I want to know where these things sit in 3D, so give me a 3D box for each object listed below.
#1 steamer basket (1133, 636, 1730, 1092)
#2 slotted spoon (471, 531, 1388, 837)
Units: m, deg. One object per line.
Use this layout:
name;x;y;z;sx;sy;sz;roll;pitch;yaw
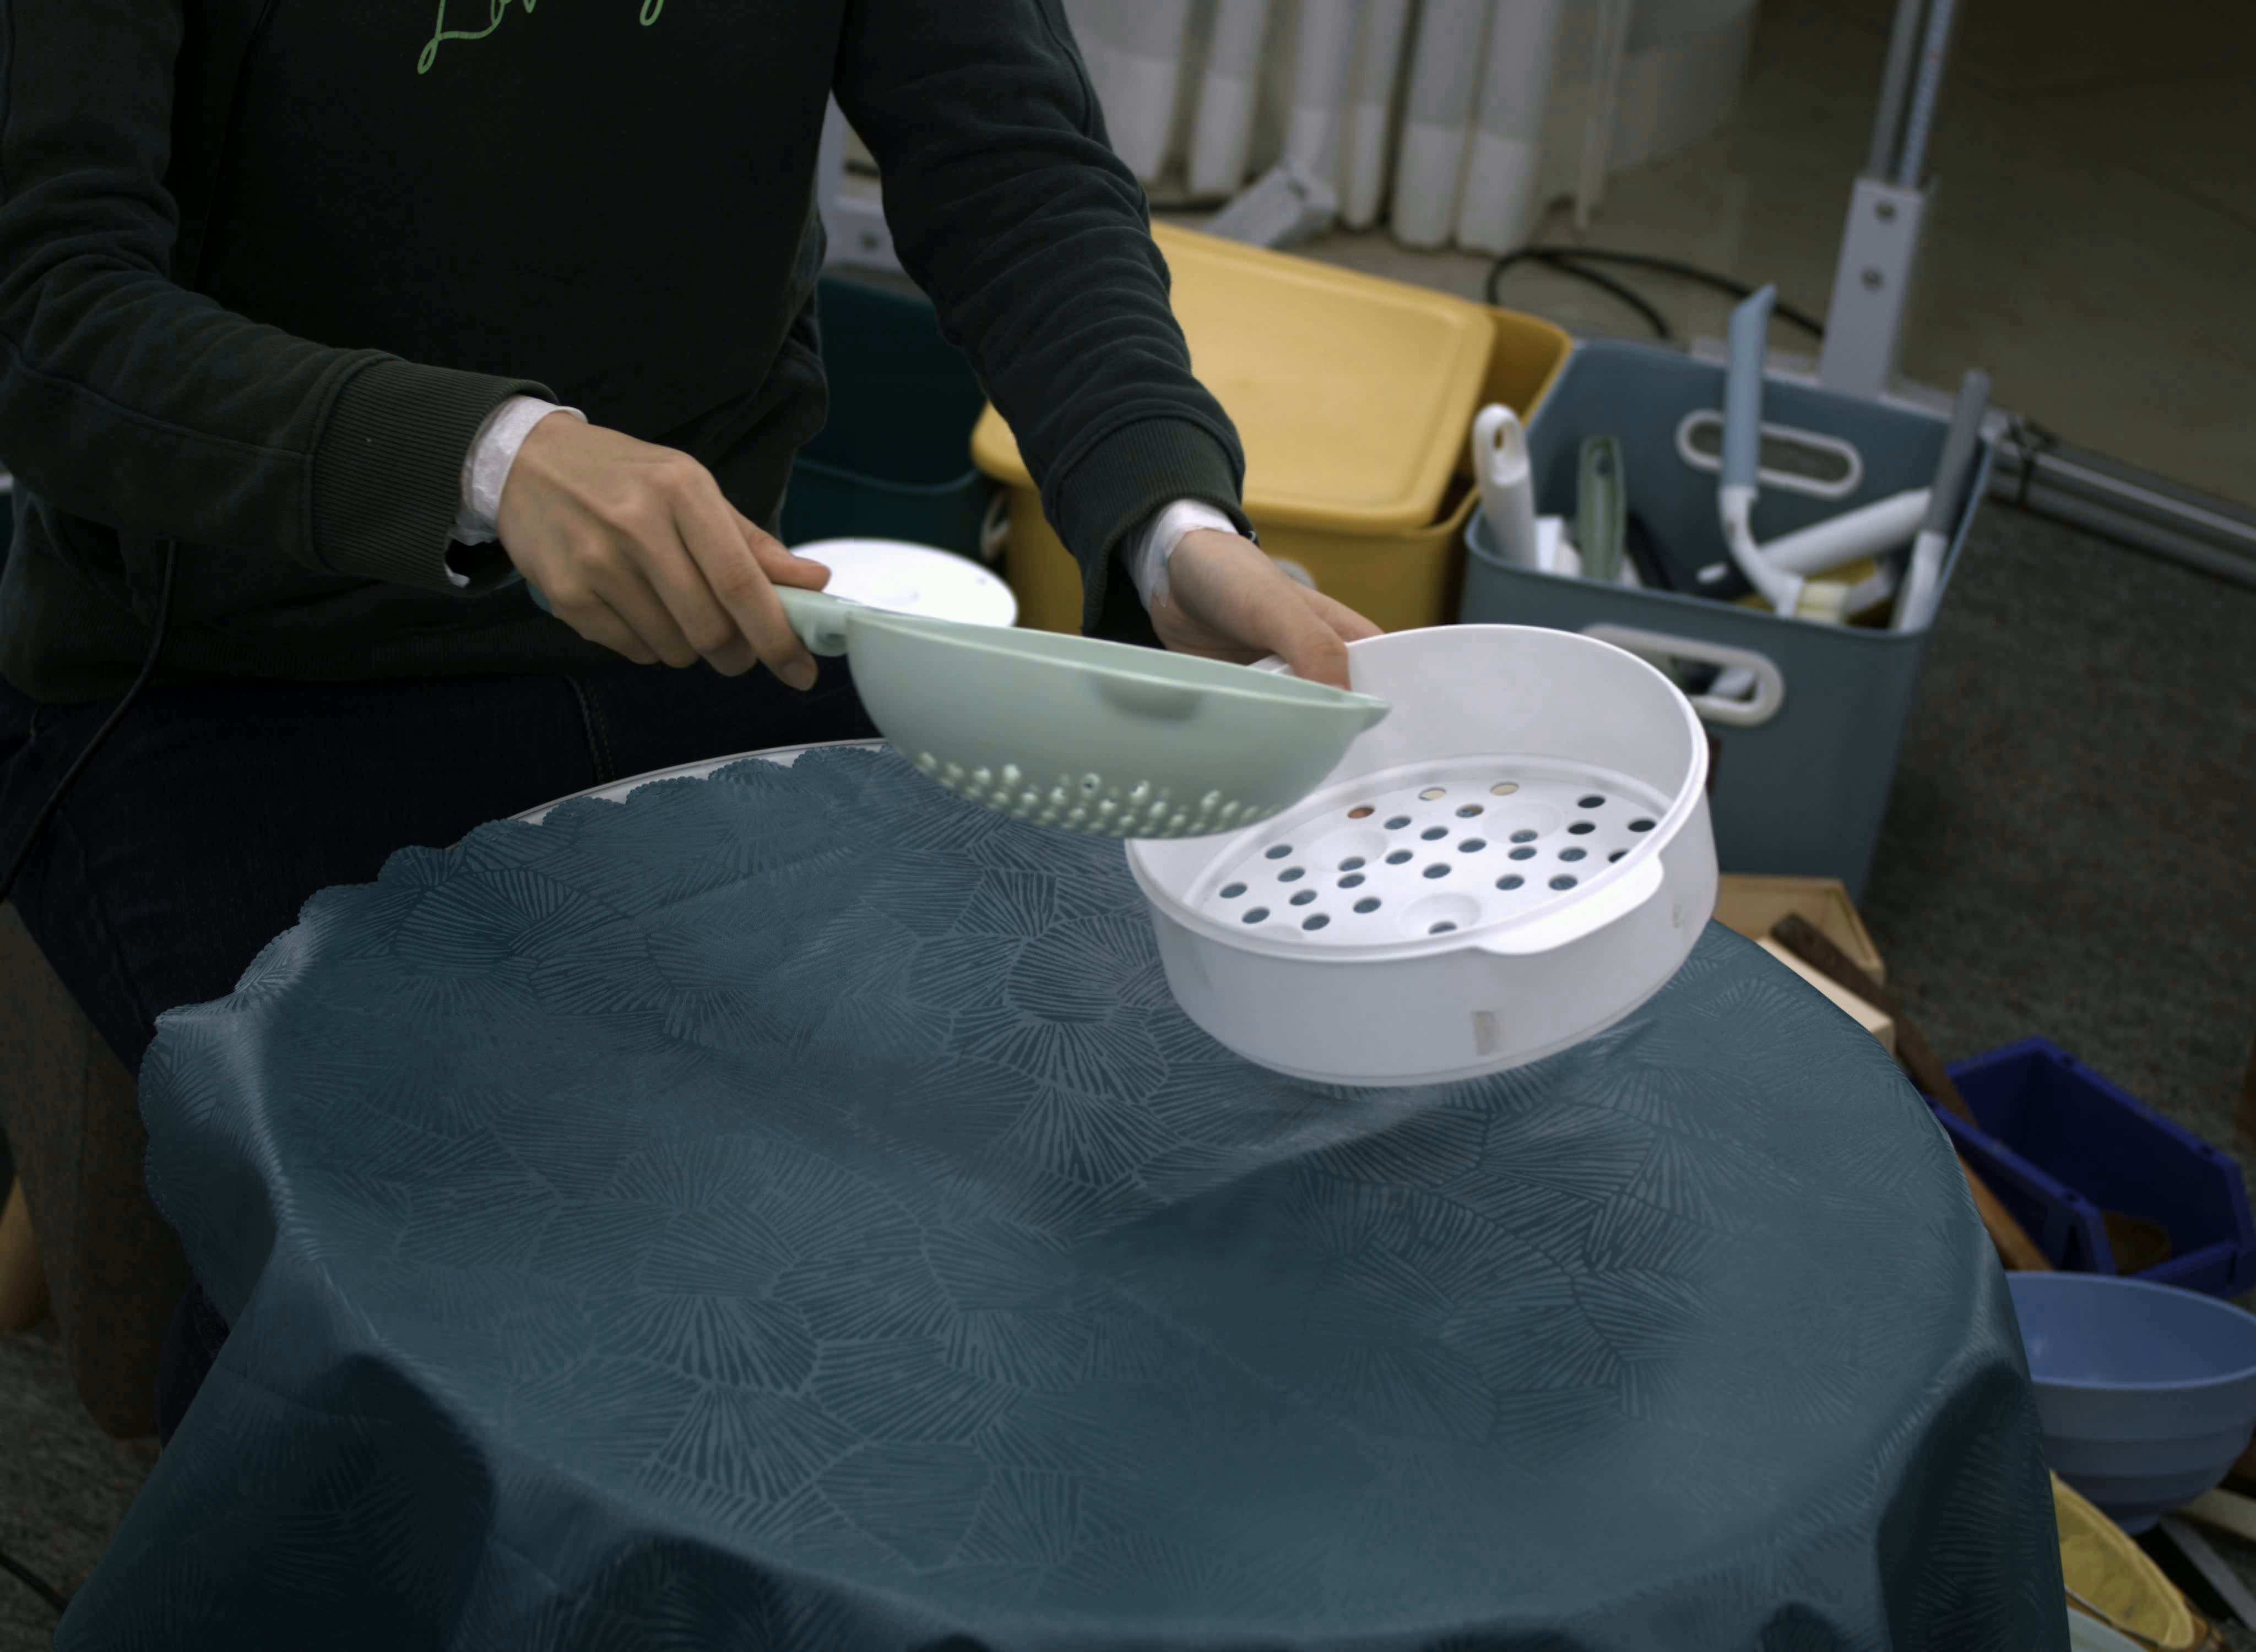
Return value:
steamer basket;0.105;0.014;1.806;0.201;0.069;0.232;-25;33;-21
slotted spoon;-0.086;-0.061;1.753;0.361;0.075;0.168;23;10;37
